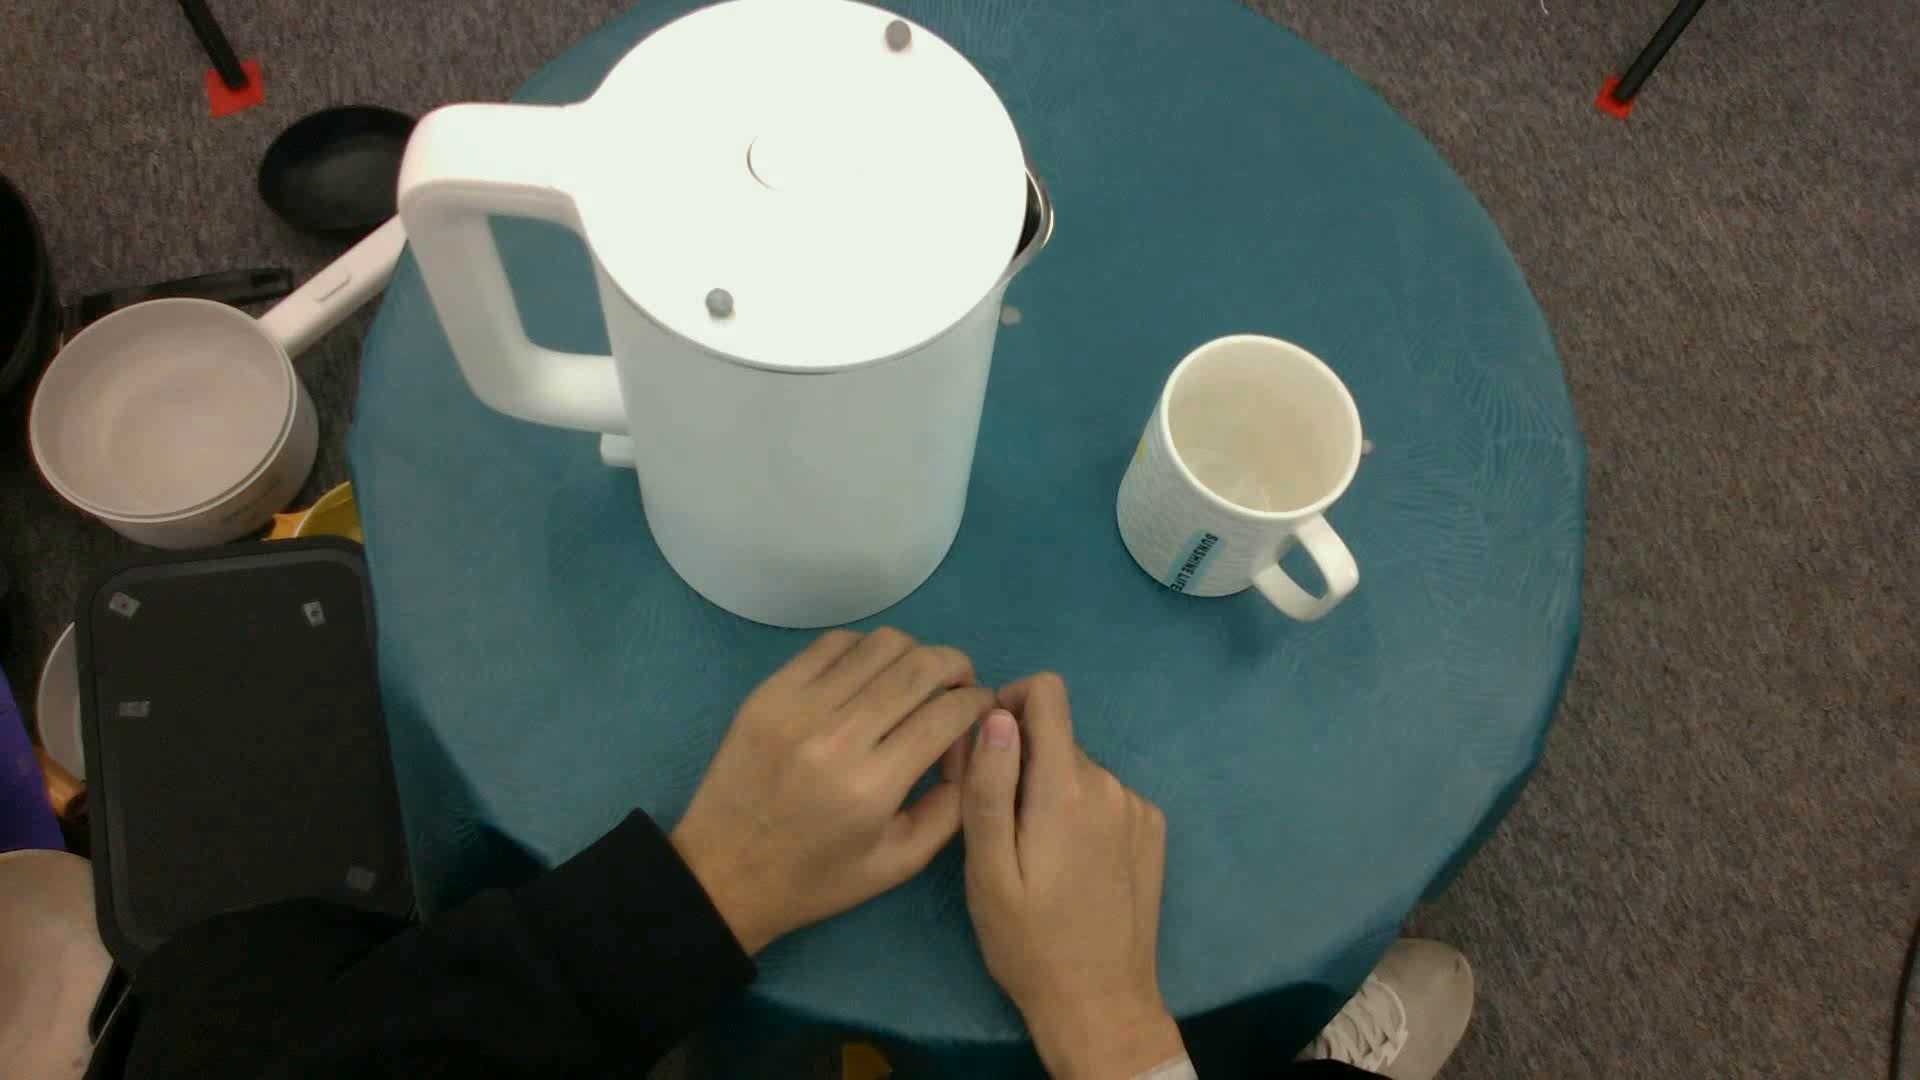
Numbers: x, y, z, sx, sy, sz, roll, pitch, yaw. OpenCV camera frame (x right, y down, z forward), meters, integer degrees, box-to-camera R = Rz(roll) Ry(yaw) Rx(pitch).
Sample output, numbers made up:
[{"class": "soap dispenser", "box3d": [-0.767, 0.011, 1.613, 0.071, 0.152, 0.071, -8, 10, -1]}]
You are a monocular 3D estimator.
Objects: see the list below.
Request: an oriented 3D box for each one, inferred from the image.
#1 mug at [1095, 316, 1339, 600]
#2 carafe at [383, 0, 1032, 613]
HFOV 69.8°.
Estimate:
[{"class": "mug", "box3d": [0.120, -0.025, 0.616, 0.085, 0.101, 0.118, -30, 74, -18]}, {"class": "carafe", "box3d": [-0.095, -0.084, 0.543, 0.213, 0.239, 0.152, 5, 66, -6]}]
